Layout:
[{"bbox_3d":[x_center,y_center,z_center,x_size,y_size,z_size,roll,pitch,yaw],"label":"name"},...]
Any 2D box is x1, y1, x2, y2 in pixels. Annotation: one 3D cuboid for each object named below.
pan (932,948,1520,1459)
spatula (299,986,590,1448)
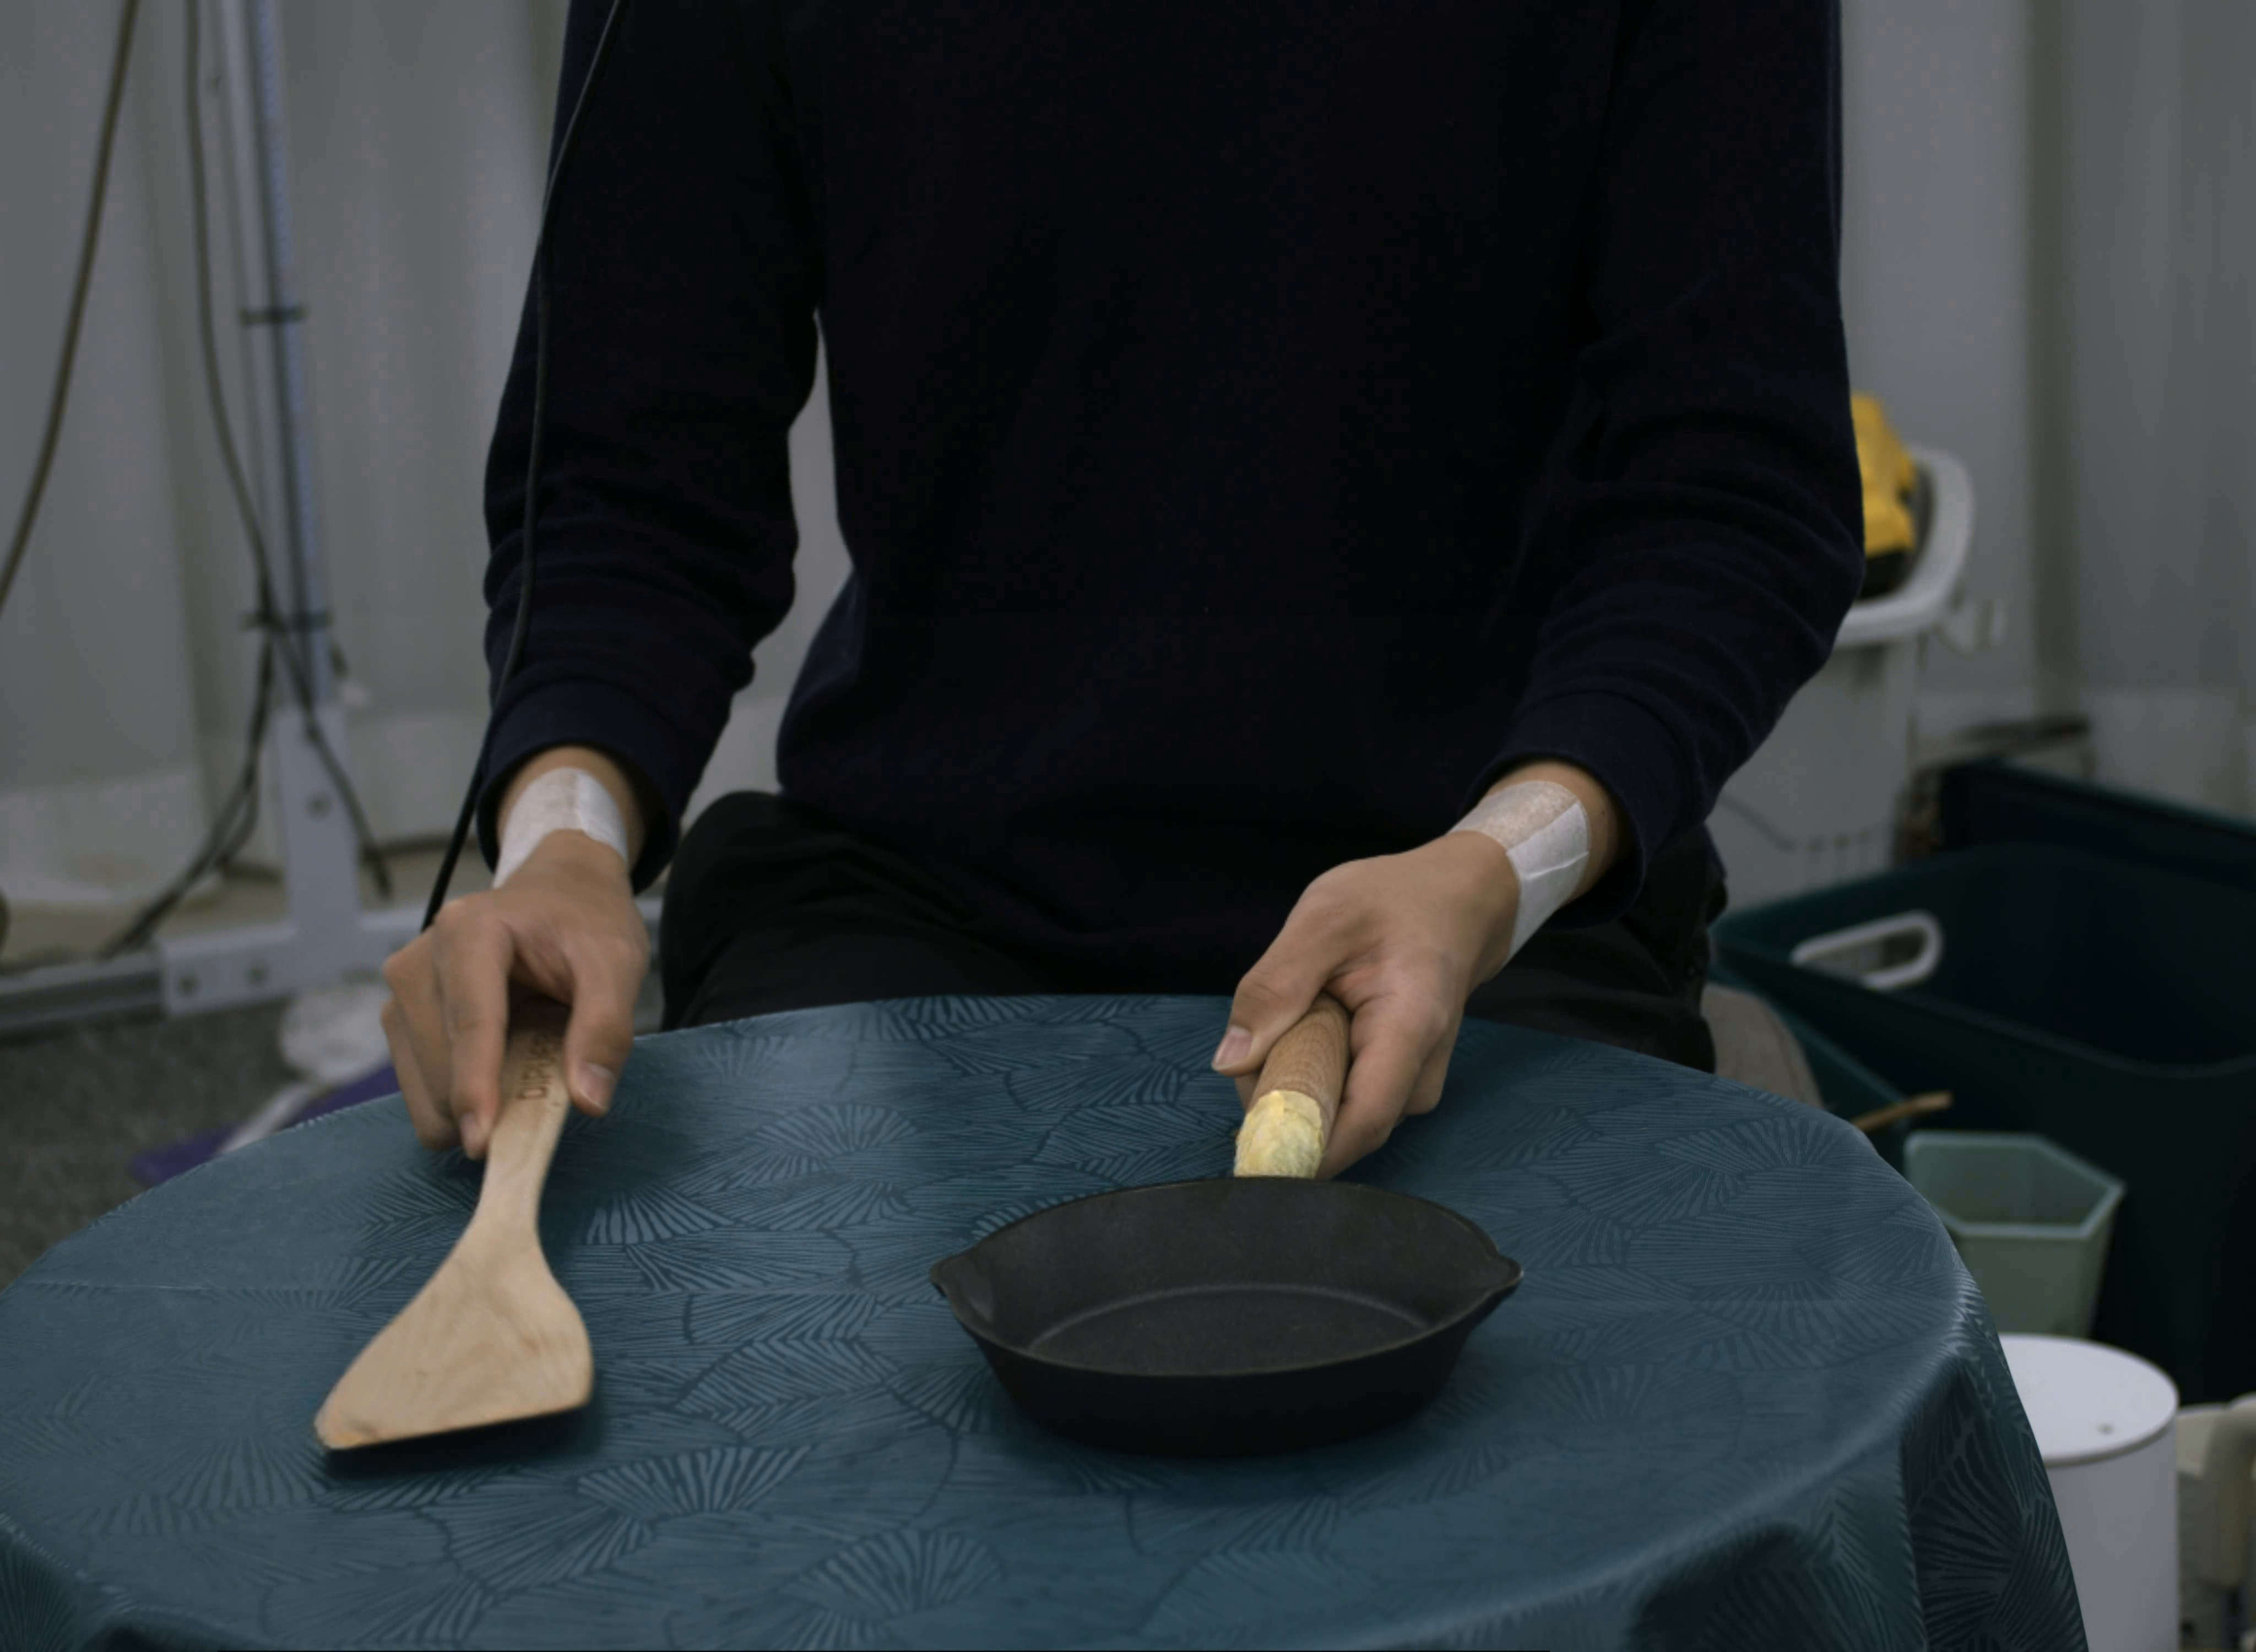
[{"bbox_3d":[0.044,0.109,1.625,0.168,0.049,0.326,0,17,12],"label":"pan"},{"bbox_3d":[-0.190,0.113,1.658,0.080,0.016,0.331,-6,22,3],"label":"spatula"}]
